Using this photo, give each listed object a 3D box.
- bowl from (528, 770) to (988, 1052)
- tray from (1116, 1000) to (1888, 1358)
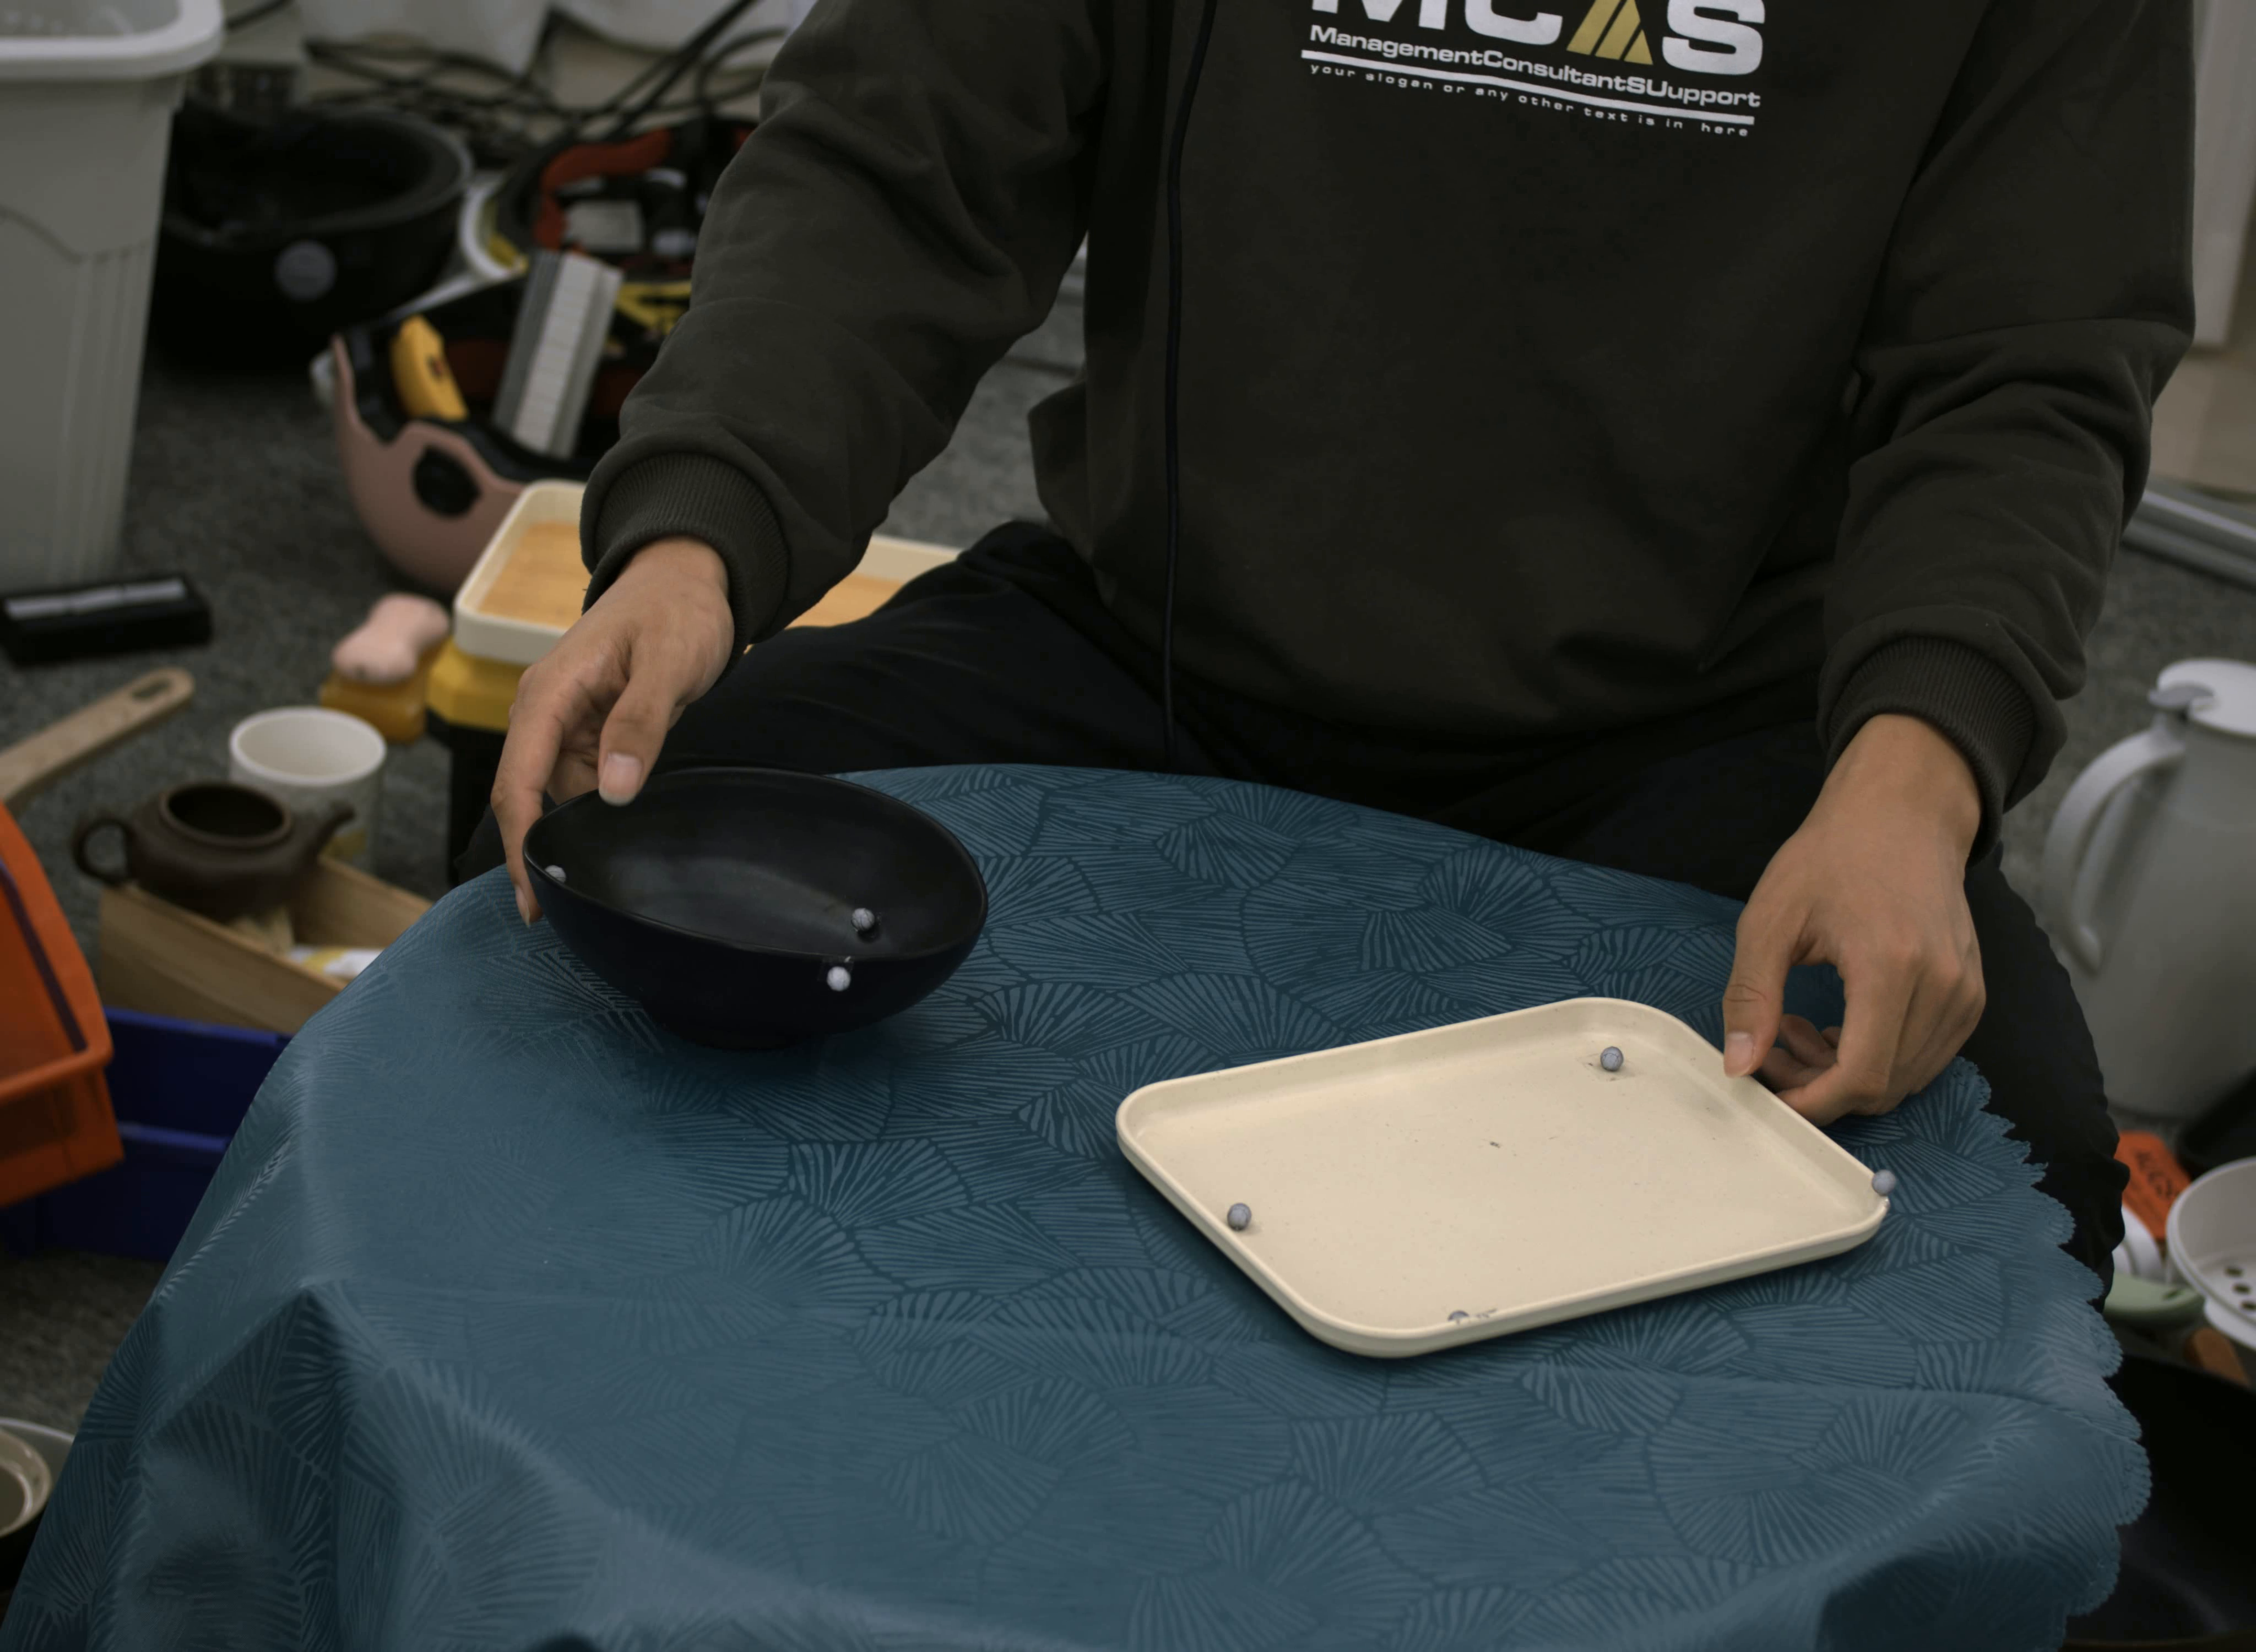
[{"bbox_3d":[-0.134,0.037,1.876,0.170,0.066,0.137,14,26,17],"label":"bowl"},{"bbox_3d":[0.128,0.120,1.825,0.238,0.017,0.173,-10,30,-30],"label":"tray"}]
